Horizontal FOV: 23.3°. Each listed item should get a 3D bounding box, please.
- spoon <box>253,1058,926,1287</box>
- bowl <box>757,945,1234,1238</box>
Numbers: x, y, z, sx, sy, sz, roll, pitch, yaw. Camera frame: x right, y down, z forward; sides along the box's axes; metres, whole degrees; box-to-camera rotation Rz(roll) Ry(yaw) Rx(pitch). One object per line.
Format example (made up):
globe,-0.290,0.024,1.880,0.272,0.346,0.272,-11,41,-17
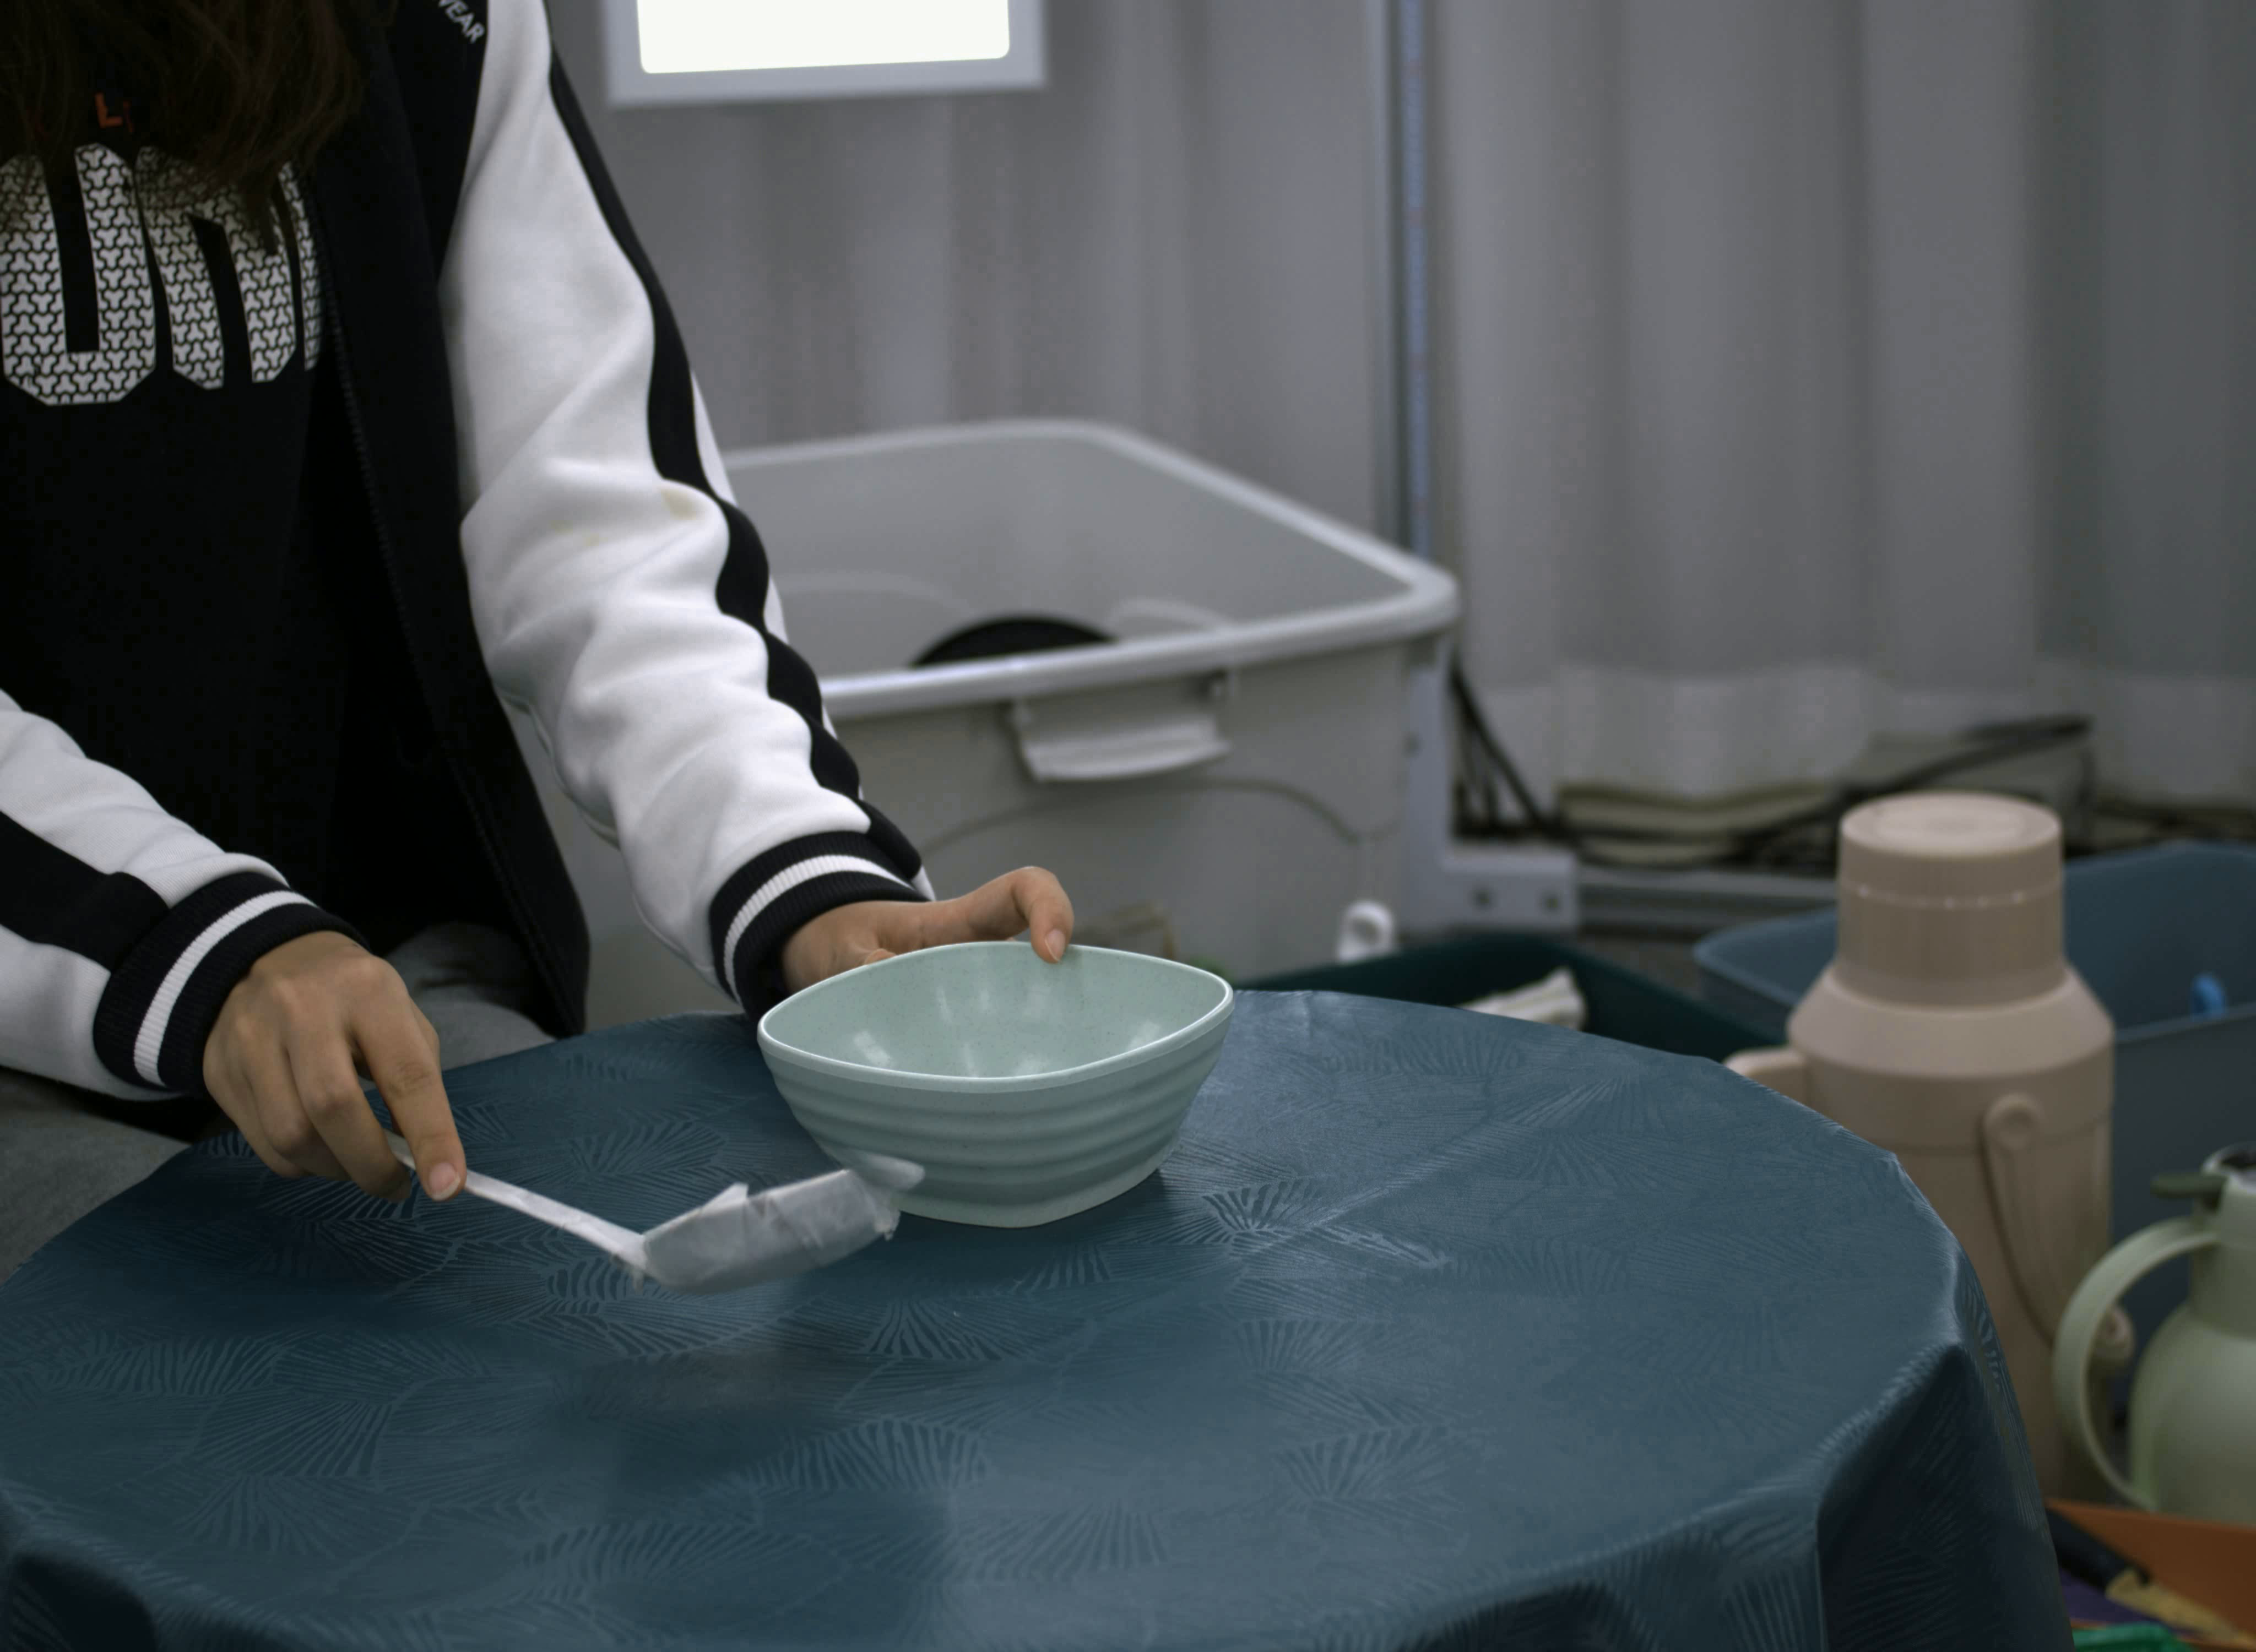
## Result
spoon,-0.169,0.085,1.628,0.100,0.059,0.279,4,11,-45
bowl,-0.040,0.087,1.726,0.151,0.058,0.152,-3,15,0
